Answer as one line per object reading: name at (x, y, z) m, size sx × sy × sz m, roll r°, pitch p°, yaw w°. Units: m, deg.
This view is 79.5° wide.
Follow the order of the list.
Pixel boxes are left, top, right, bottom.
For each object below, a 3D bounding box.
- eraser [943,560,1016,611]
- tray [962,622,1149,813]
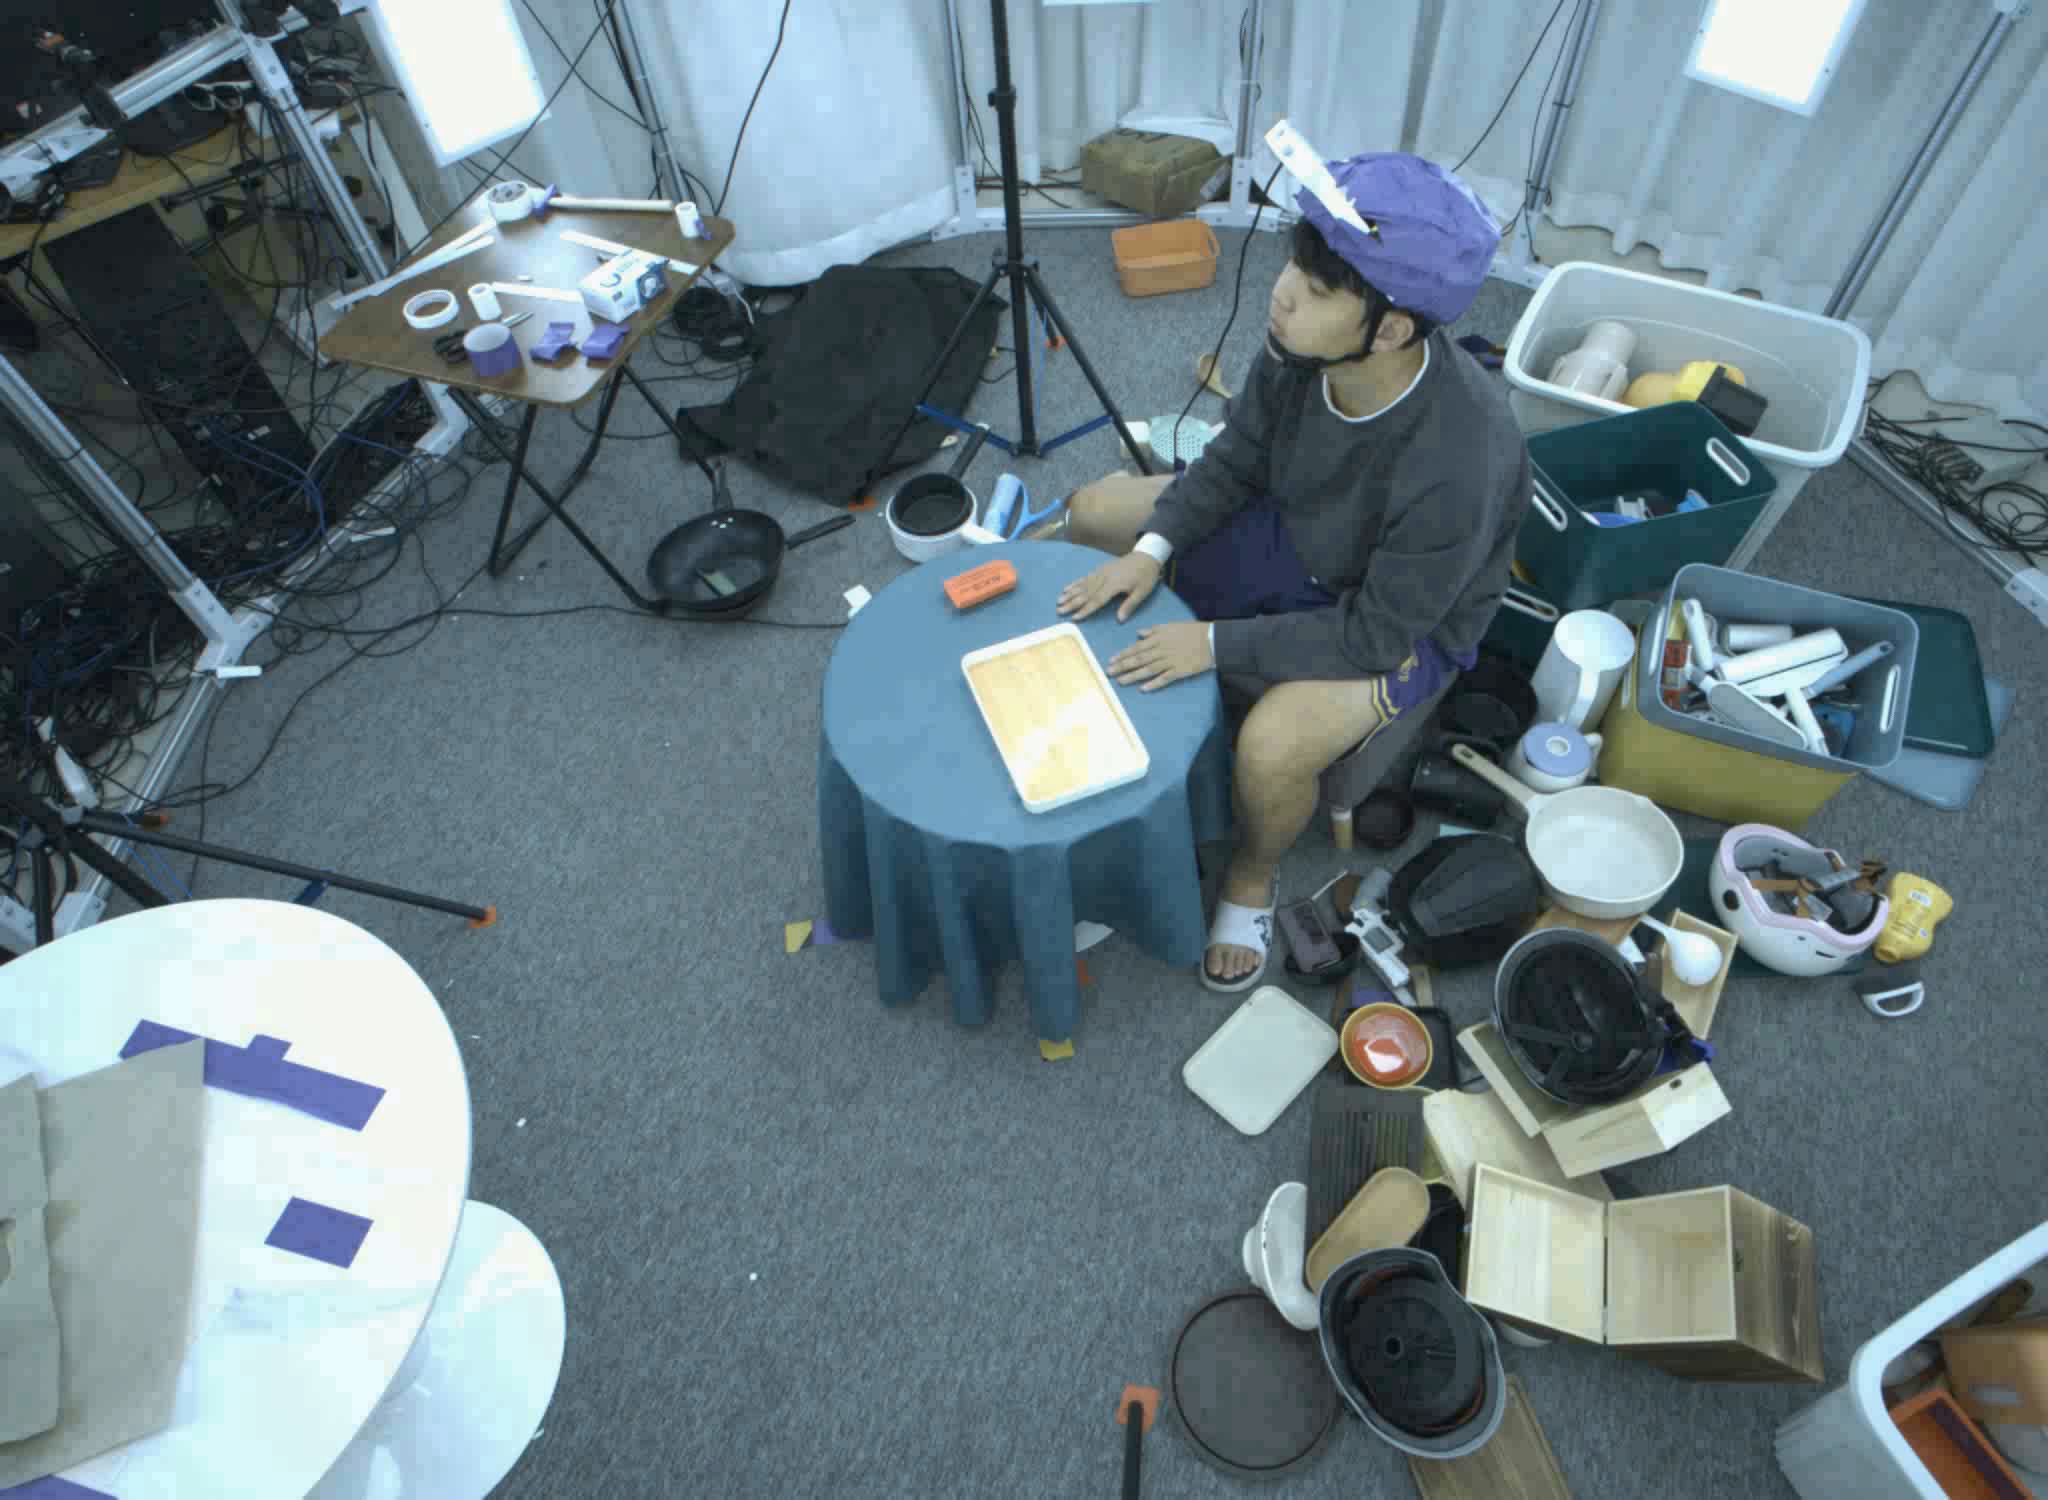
eraser at (-0.072, -0.264, 1.965) m, size 0.109 × 0.023 × 0.058 m, roll -24°, pitch 56°, yaw -15°
tray at (0.042, -0.054, 1.810) m, size 0.193 × 0.028 × 0.295 m, roll -18°, pitch 56°, yaw -11°
